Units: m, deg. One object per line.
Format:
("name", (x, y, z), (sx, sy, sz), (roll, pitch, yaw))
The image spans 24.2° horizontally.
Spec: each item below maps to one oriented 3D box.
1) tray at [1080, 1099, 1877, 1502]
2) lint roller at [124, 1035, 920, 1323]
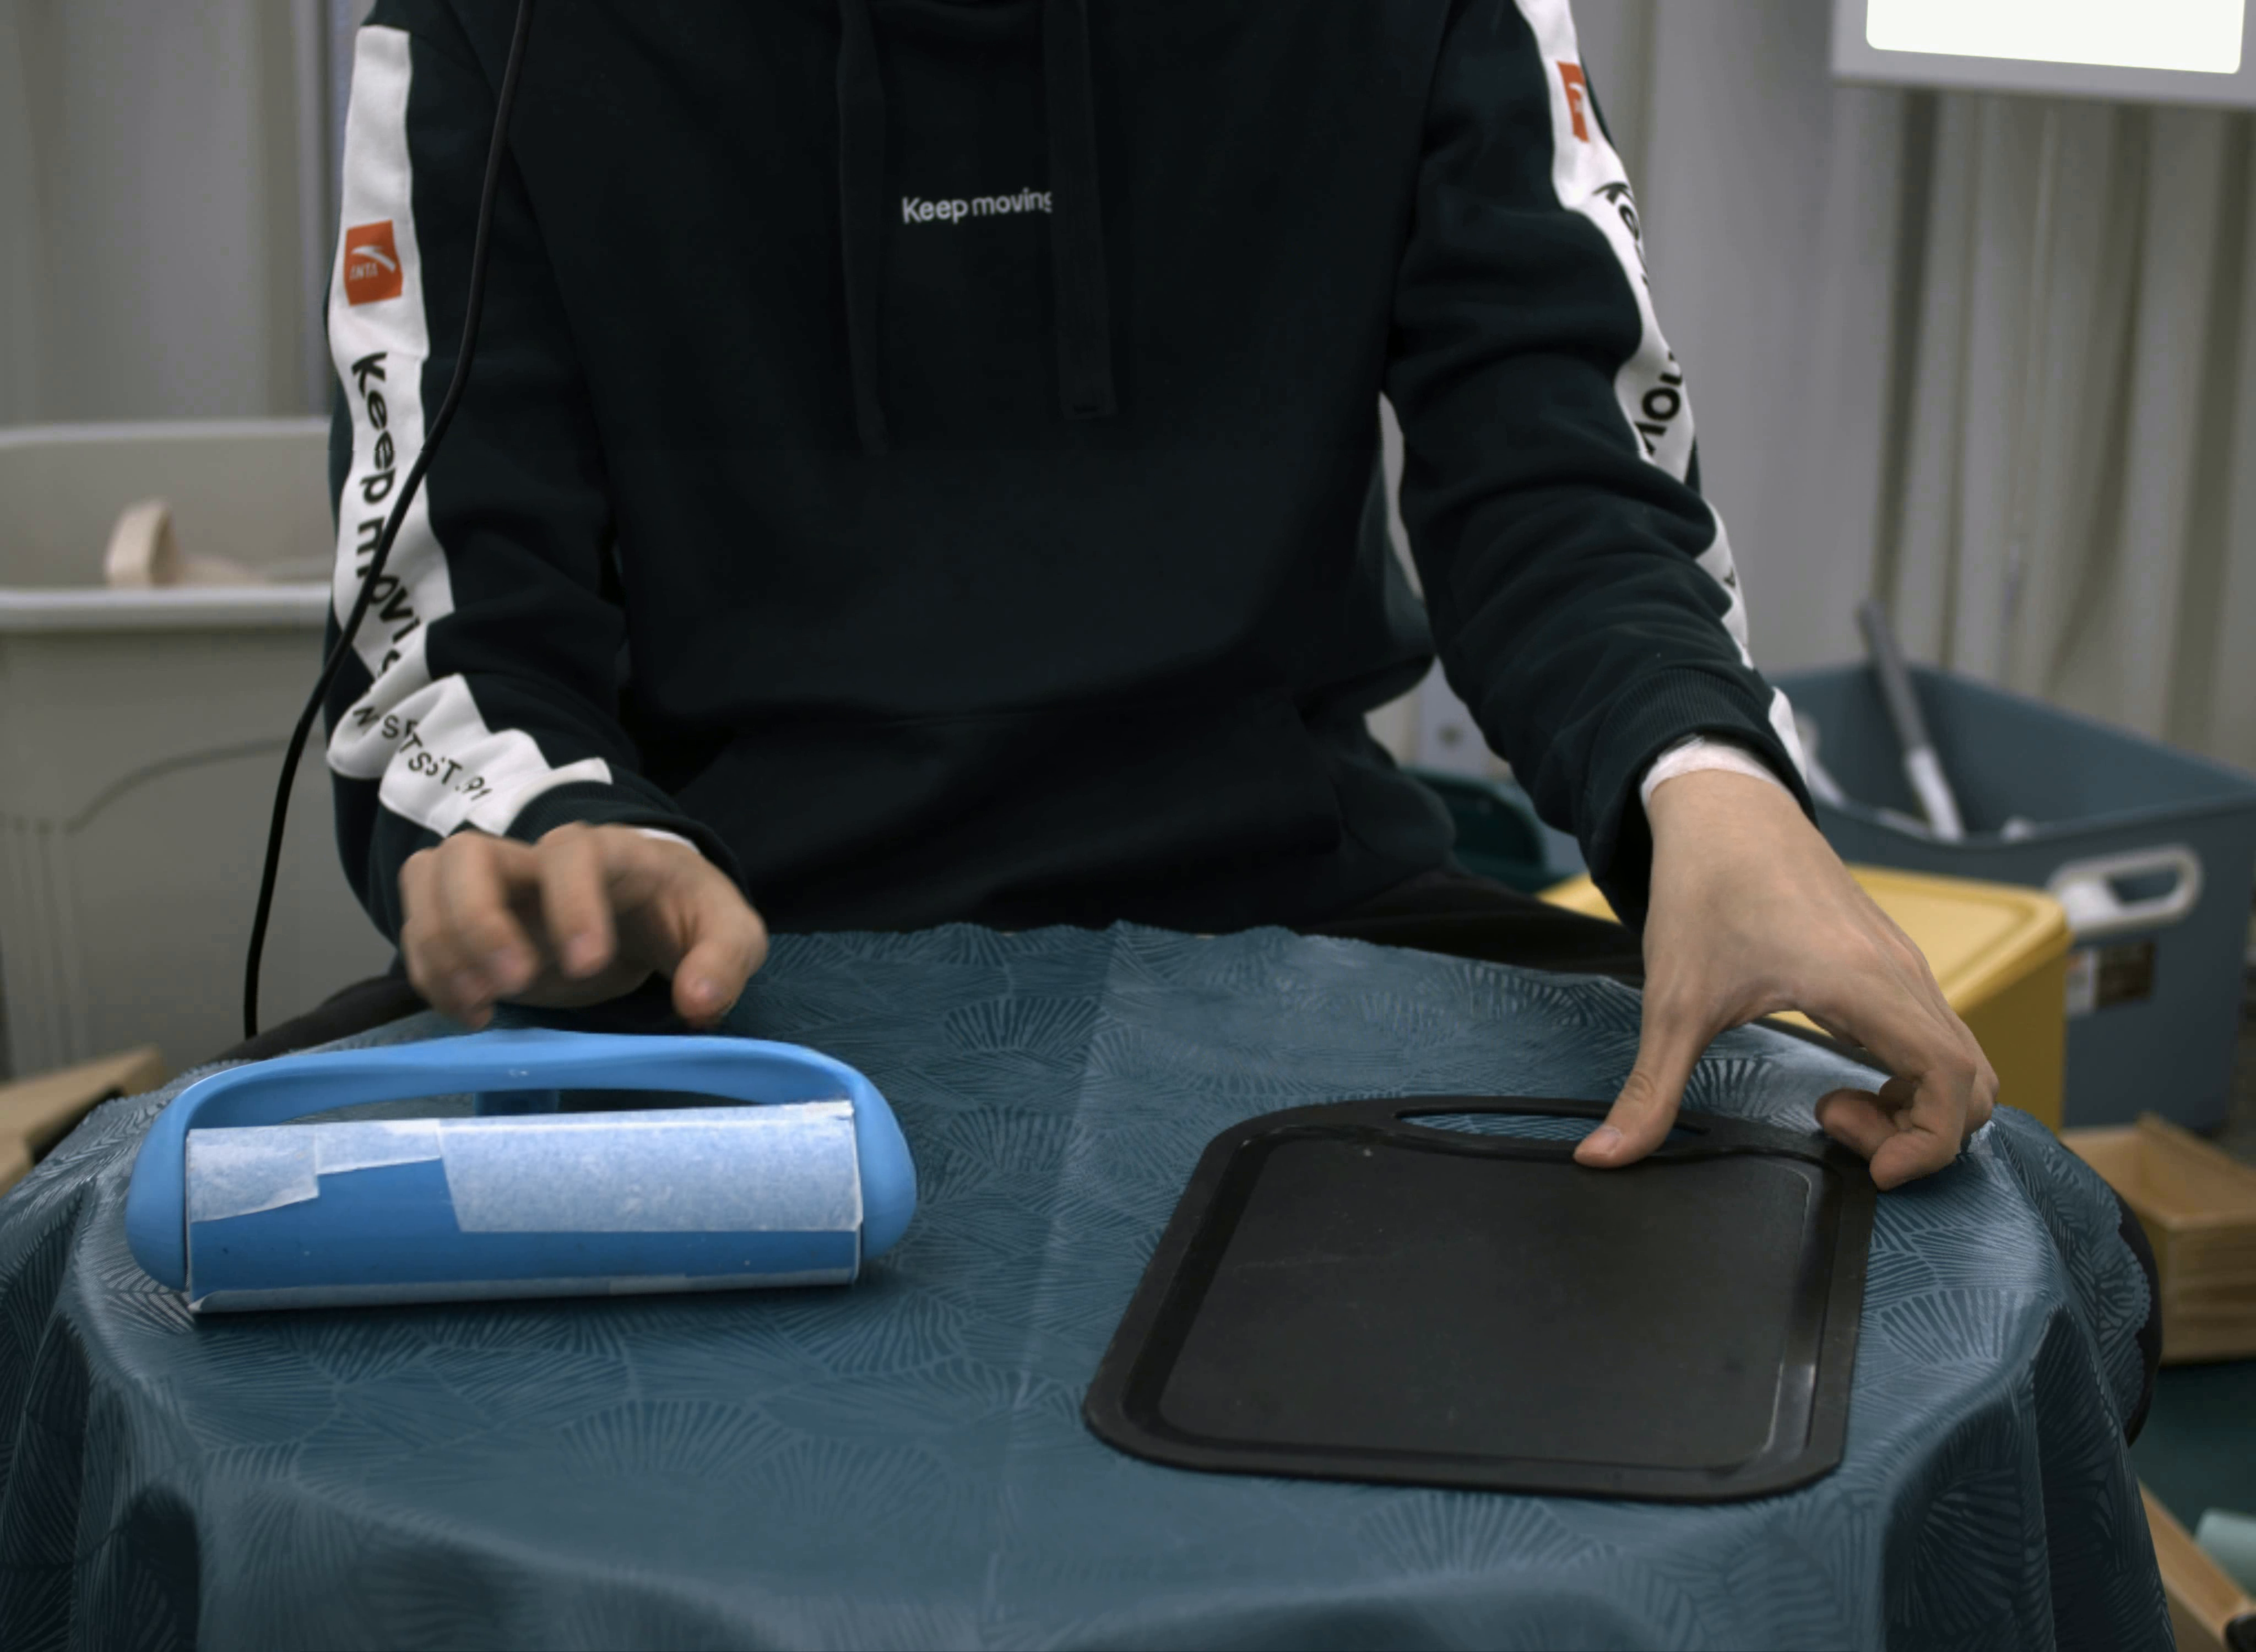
("tray", (0.110, 0.130, 1.545), (0.210, 0.010, 0.325), (3, 16, 9))
("lint roller", (-0.184, 0.093, 1.576), (0.229, 0.068, 0.178), (-4, 17, -10))
